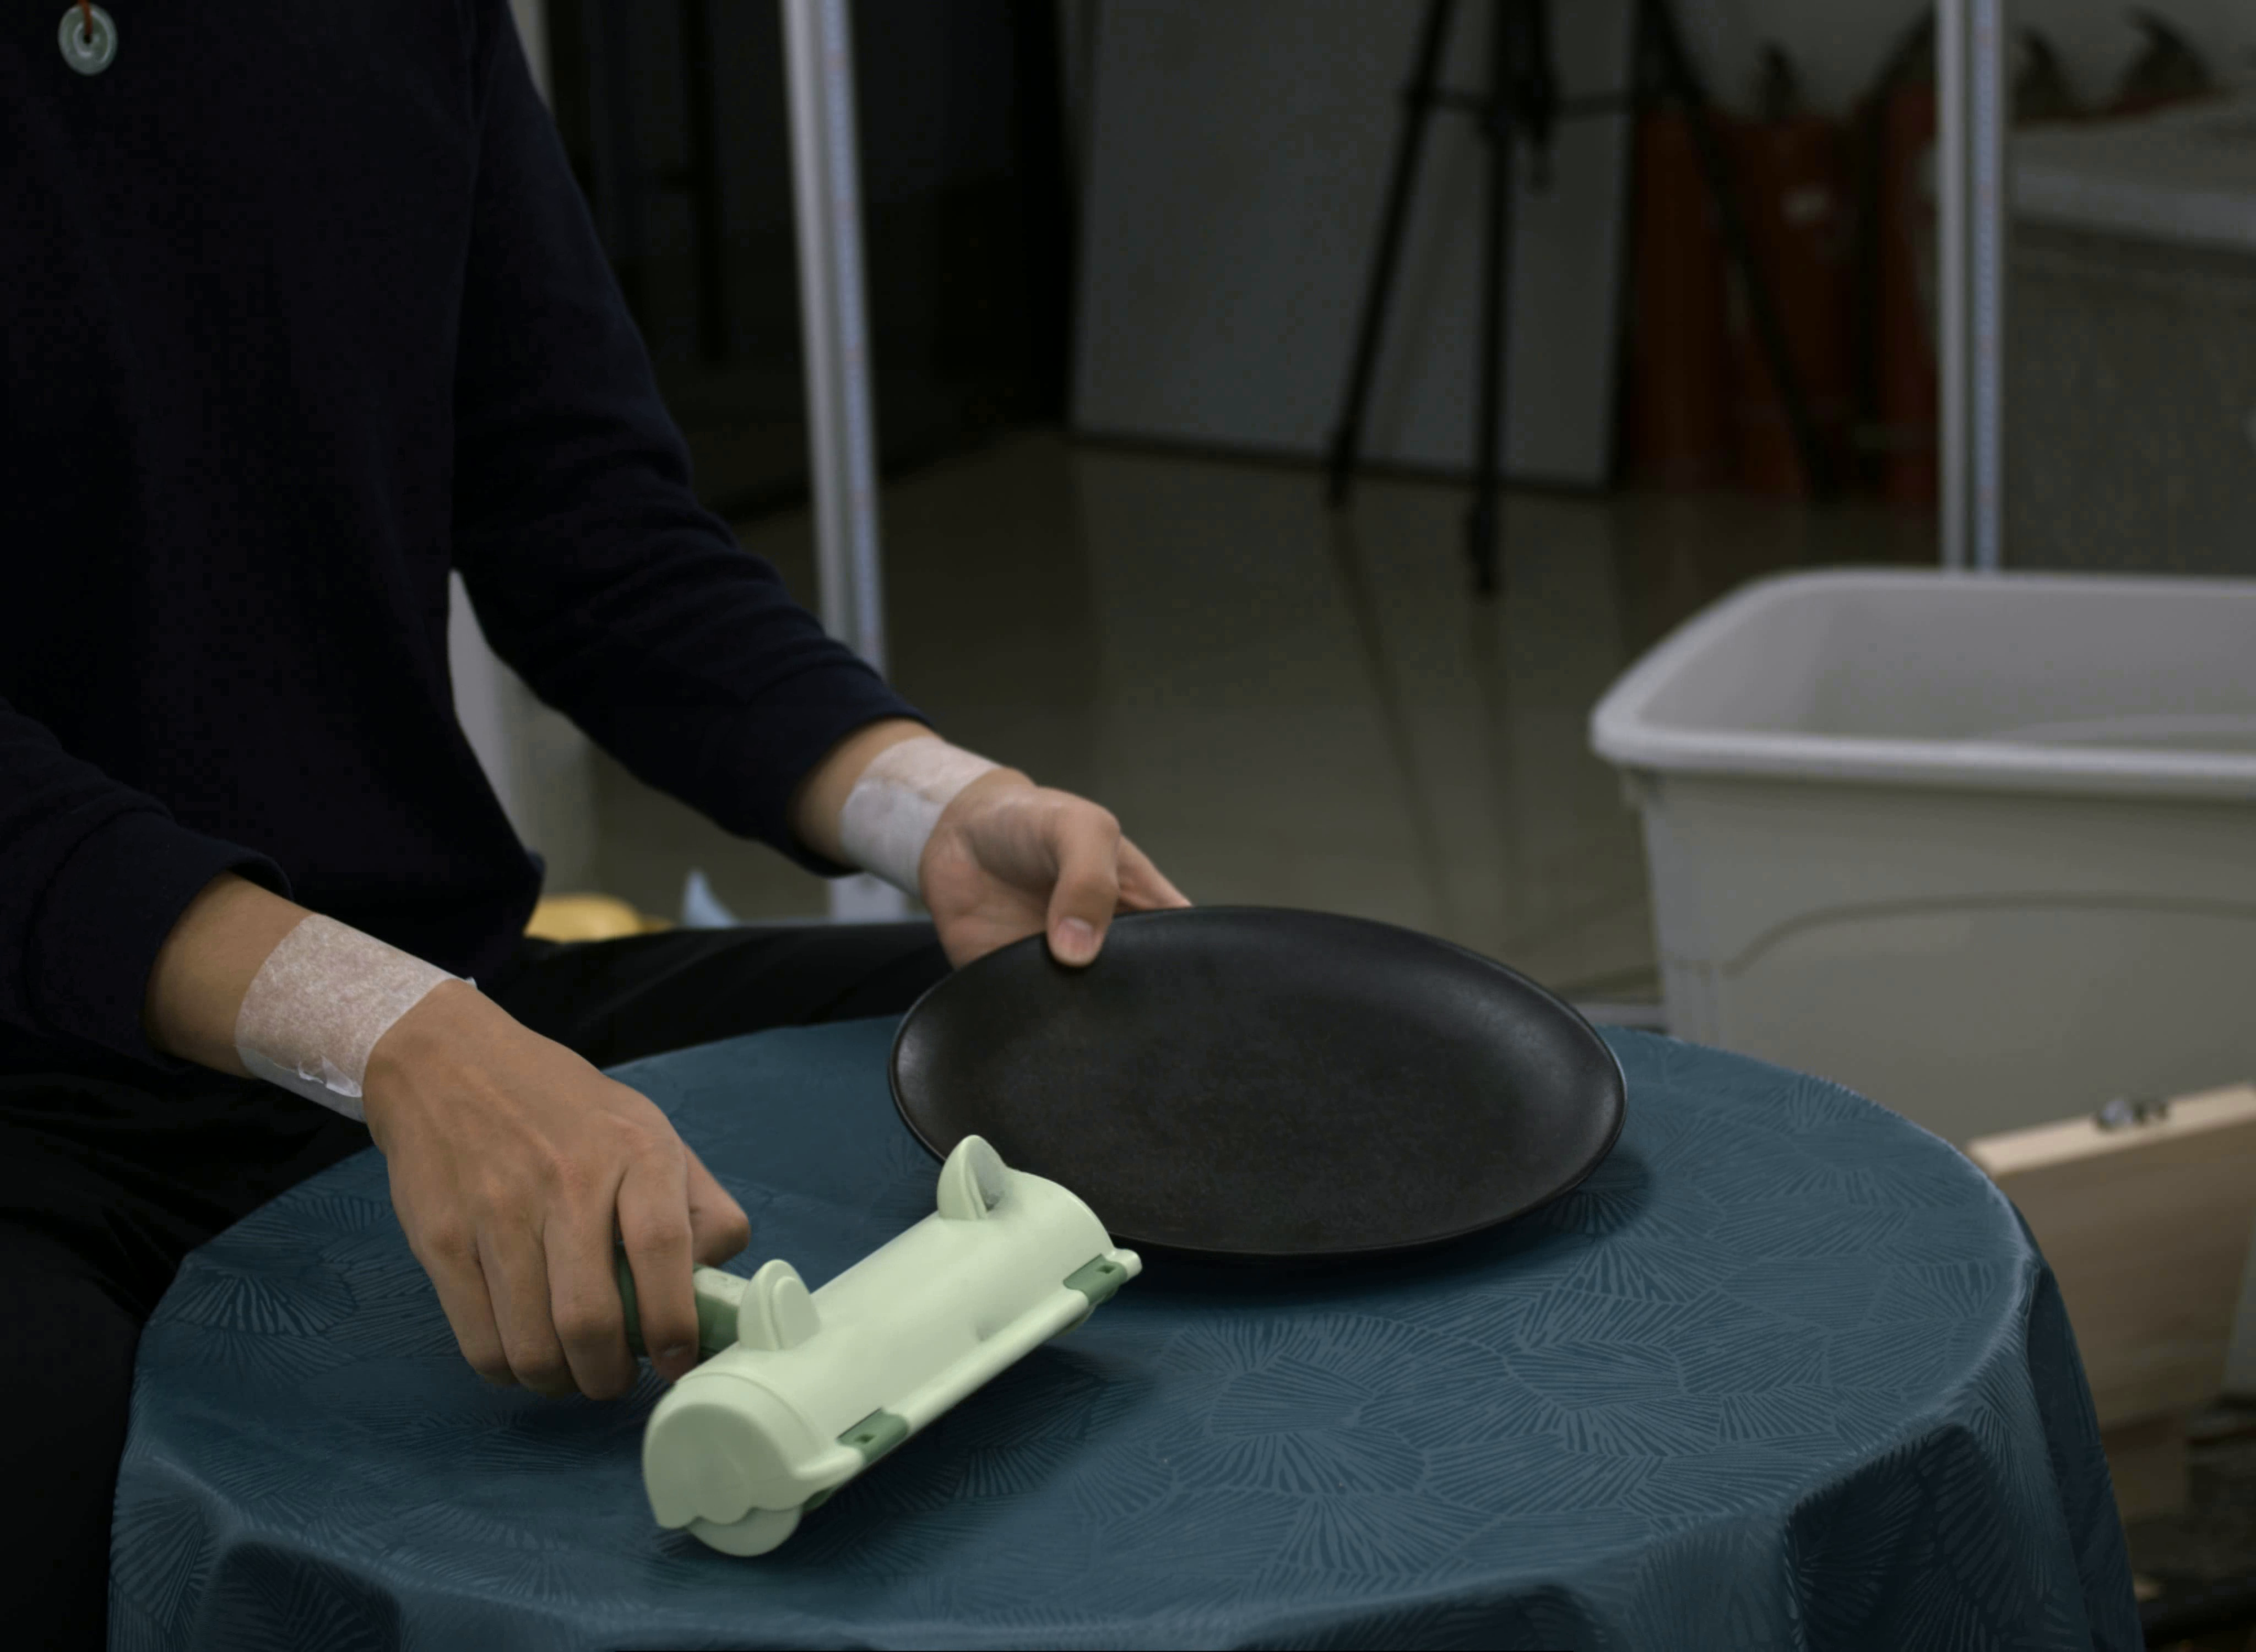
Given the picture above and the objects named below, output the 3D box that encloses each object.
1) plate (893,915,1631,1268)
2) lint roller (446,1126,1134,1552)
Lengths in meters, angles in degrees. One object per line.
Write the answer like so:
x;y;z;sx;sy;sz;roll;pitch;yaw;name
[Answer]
0.044;0.090;1.760;0.241;0.023;0.245;0;24;-1;plate
-0.116;0.128;1.566;0.183;0.083;0.196;18;21;22;lint roller
